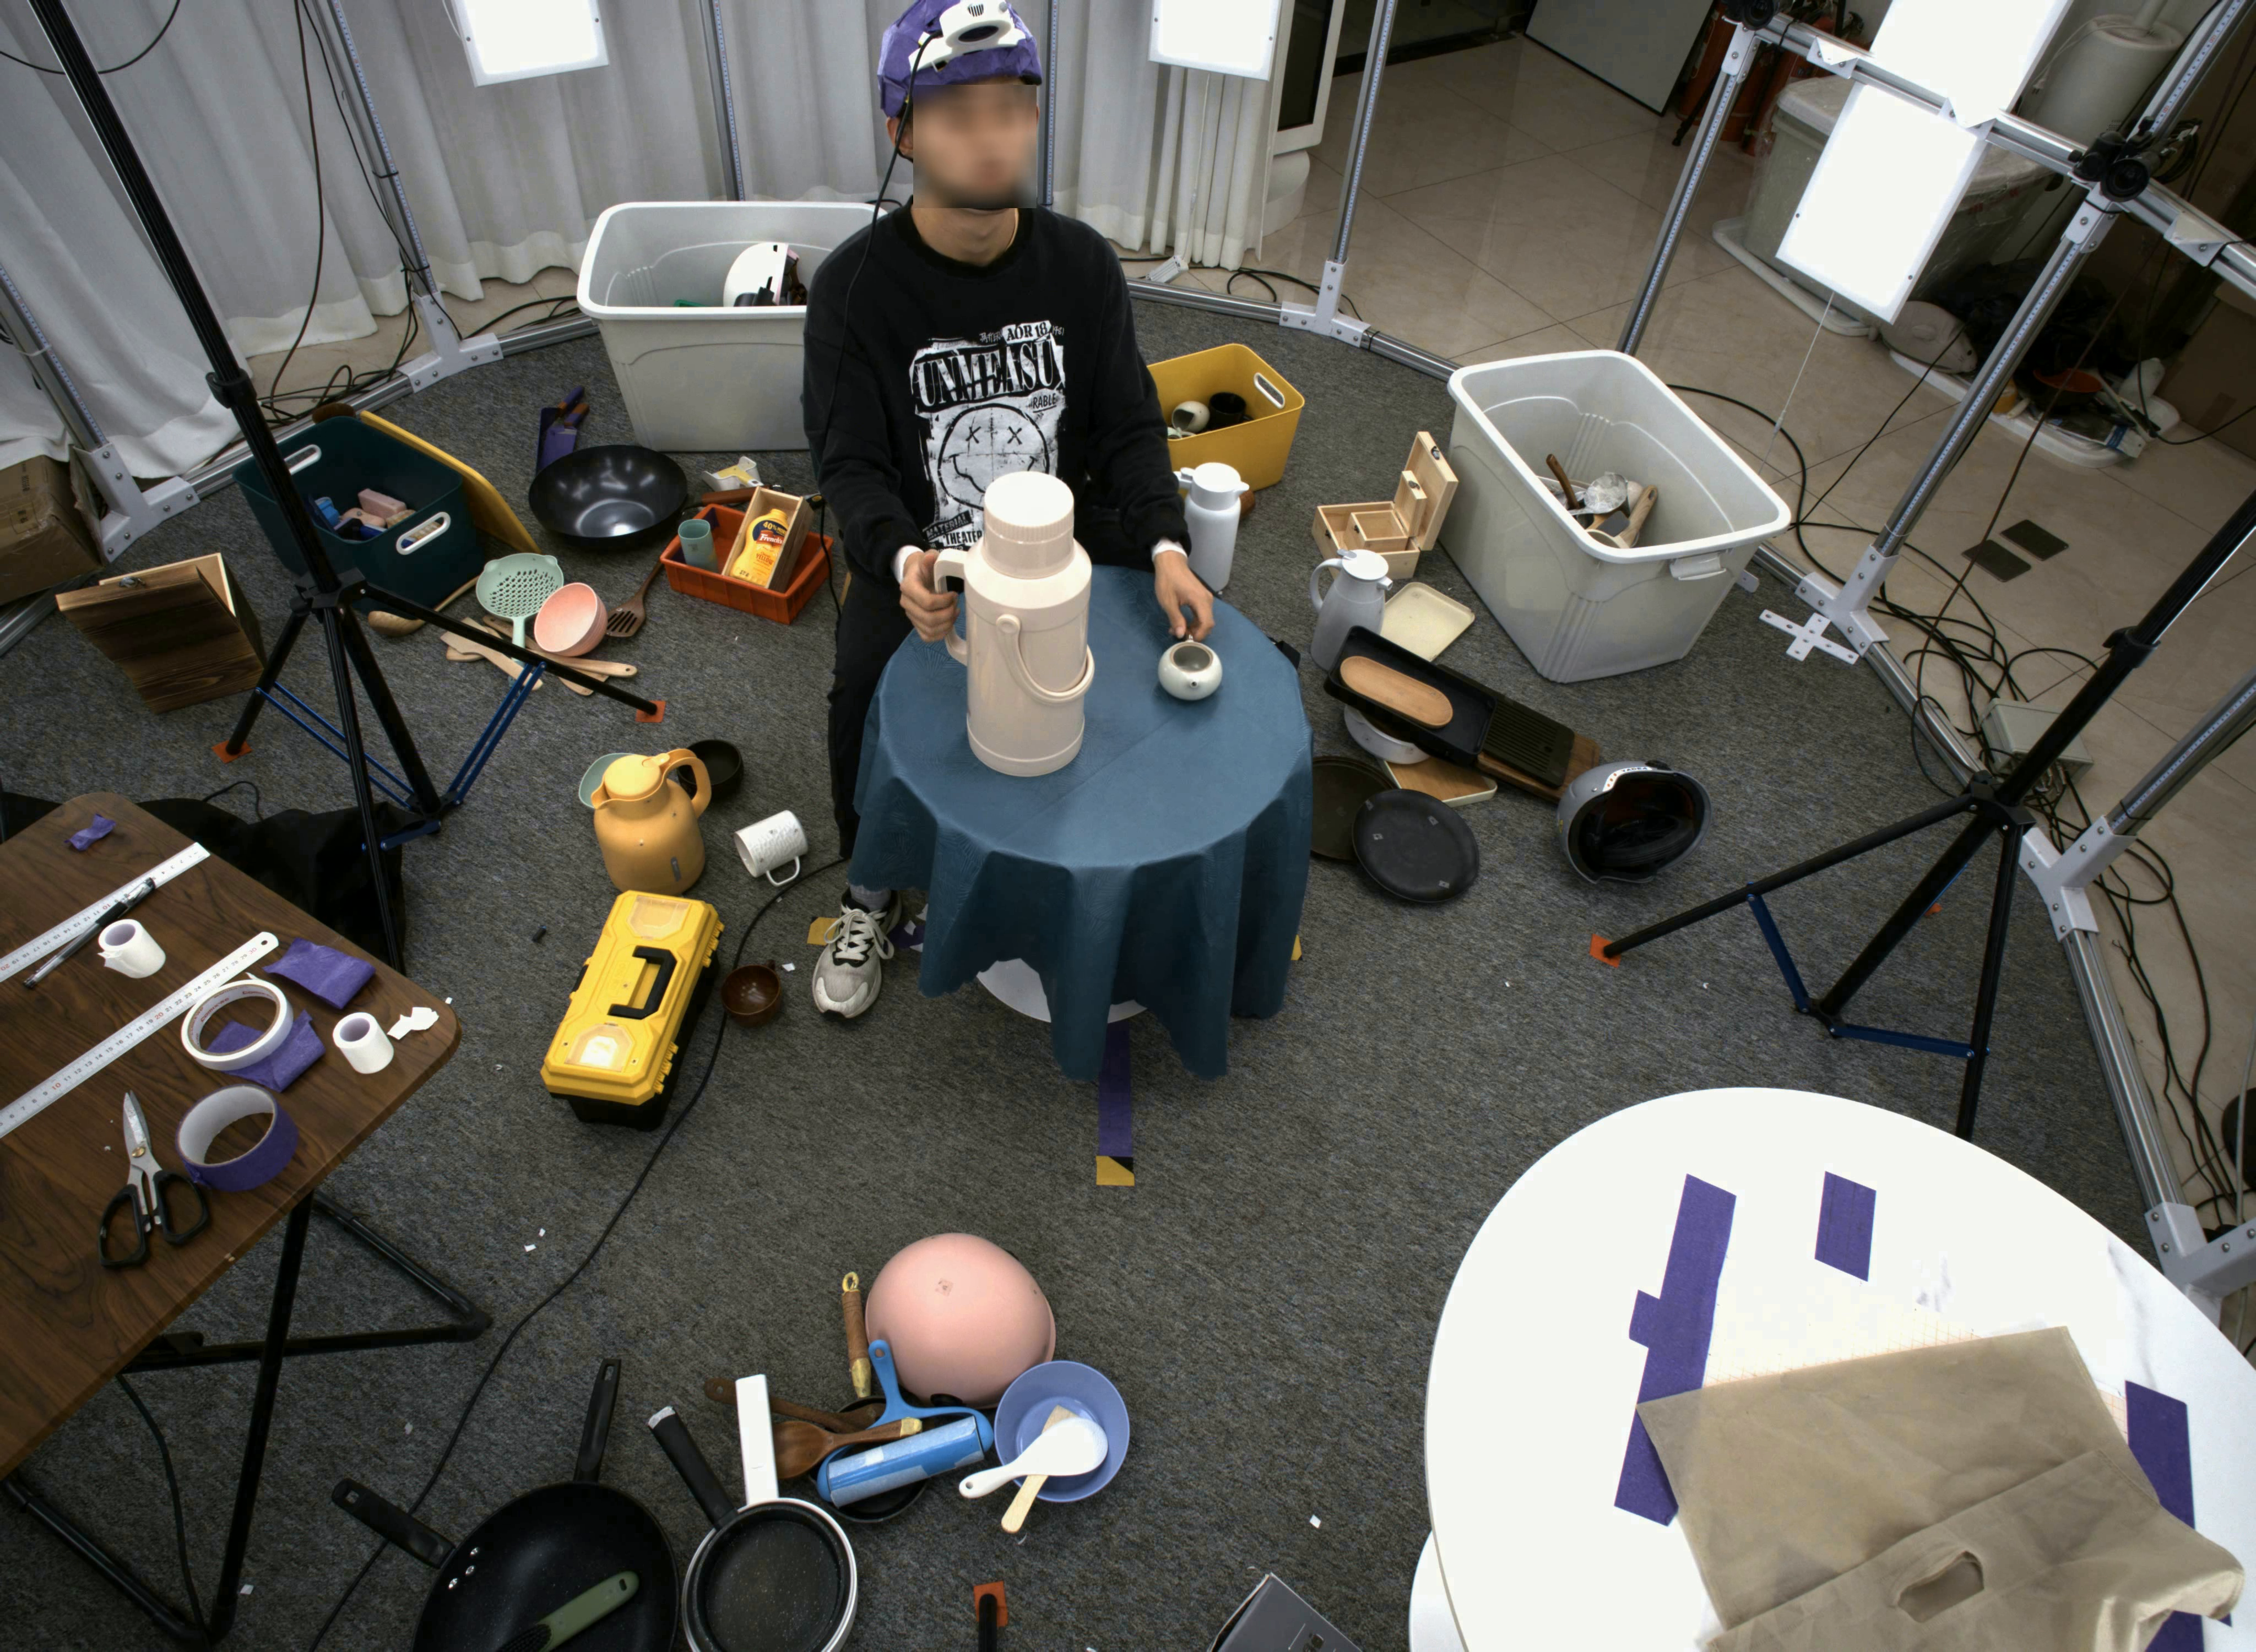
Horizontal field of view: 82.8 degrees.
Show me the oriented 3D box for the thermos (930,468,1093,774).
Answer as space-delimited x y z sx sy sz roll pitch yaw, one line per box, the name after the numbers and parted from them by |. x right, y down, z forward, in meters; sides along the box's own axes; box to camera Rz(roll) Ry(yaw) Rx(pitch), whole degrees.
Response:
-0.144 -0.257 1.628 0.207 0.396 0.179 12 51 5 | thermos

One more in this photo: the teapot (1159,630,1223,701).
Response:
0.089 -0.228 1.834 0.092 0.058 0.131 -3 50 -2 | teapot
